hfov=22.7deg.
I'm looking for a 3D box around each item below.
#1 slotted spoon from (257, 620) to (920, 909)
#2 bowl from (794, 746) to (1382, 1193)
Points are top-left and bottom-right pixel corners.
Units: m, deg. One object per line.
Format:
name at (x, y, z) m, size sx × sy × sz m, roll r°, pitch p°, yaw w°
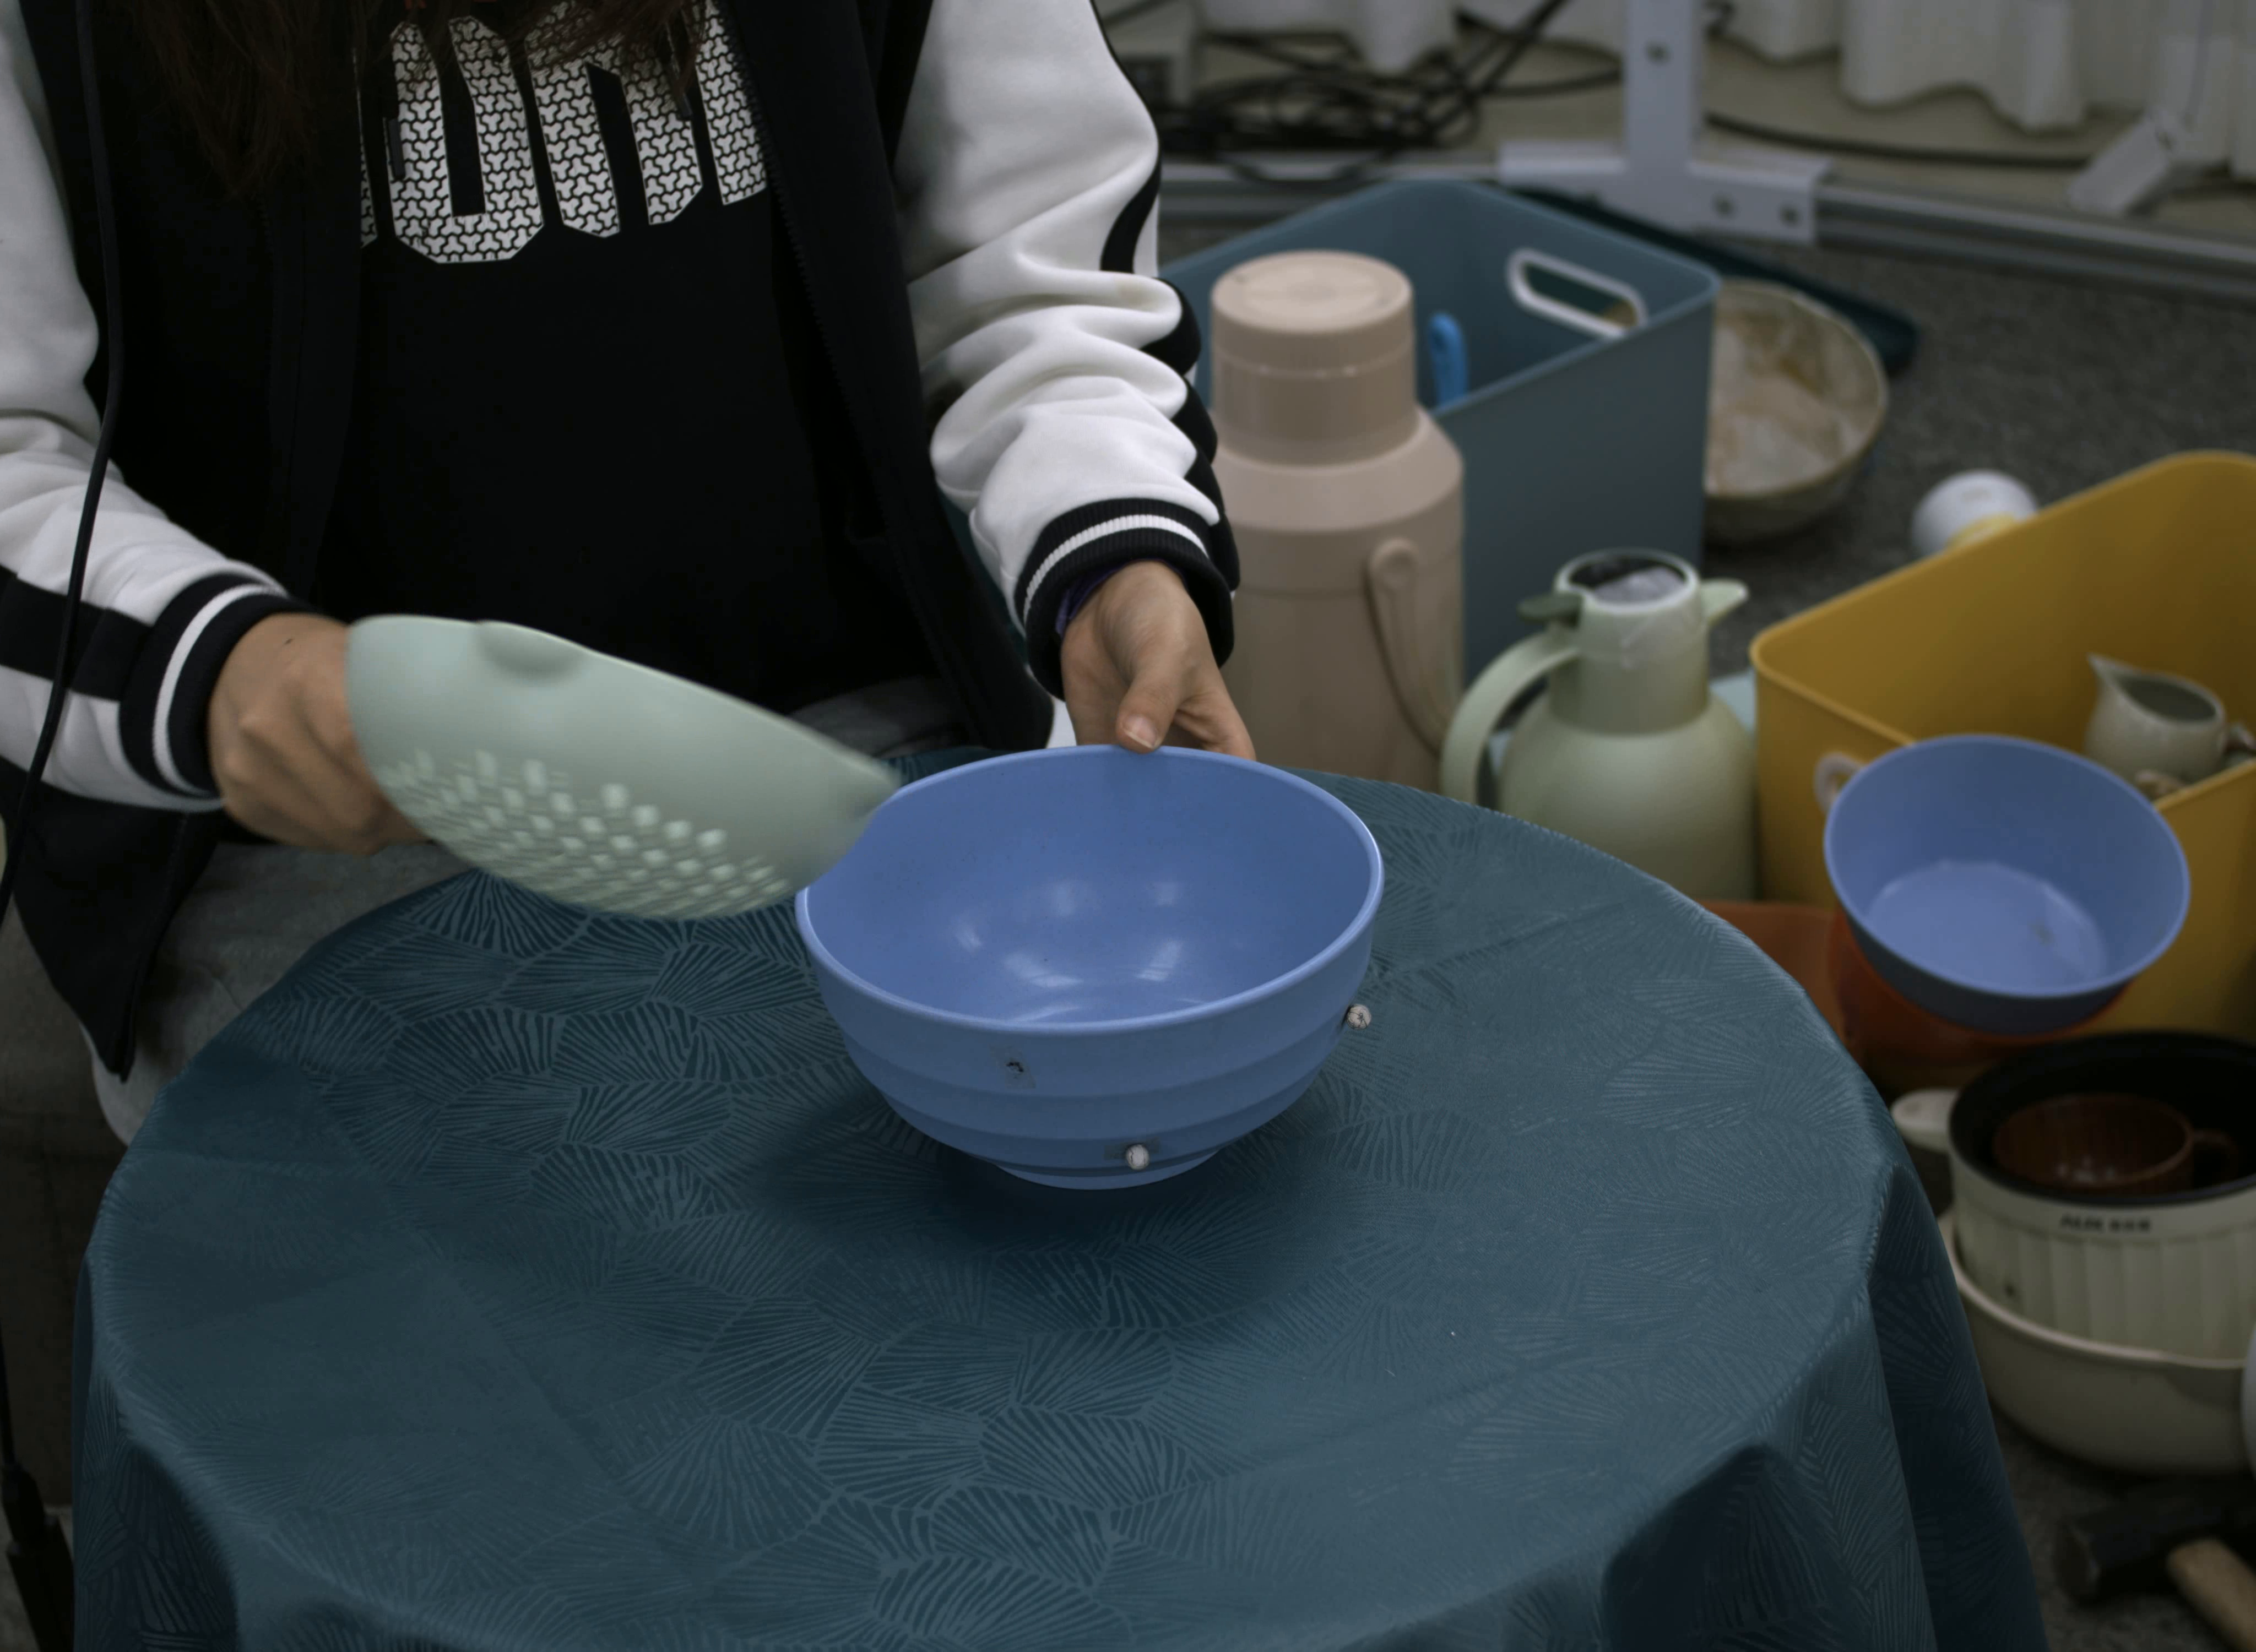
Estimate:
slotted spoon at (-0.203, -0.018, 1.791) m, size 0.169 × 0.076 × 0.357 m, roll 21°, pitch -6°, yaw -28°
bowl at (-0.011, 0.059, 1.882) m, size 0.195 × 0.094 × 0.199 m, roll -3°, pitch 27°, yaw 2°
